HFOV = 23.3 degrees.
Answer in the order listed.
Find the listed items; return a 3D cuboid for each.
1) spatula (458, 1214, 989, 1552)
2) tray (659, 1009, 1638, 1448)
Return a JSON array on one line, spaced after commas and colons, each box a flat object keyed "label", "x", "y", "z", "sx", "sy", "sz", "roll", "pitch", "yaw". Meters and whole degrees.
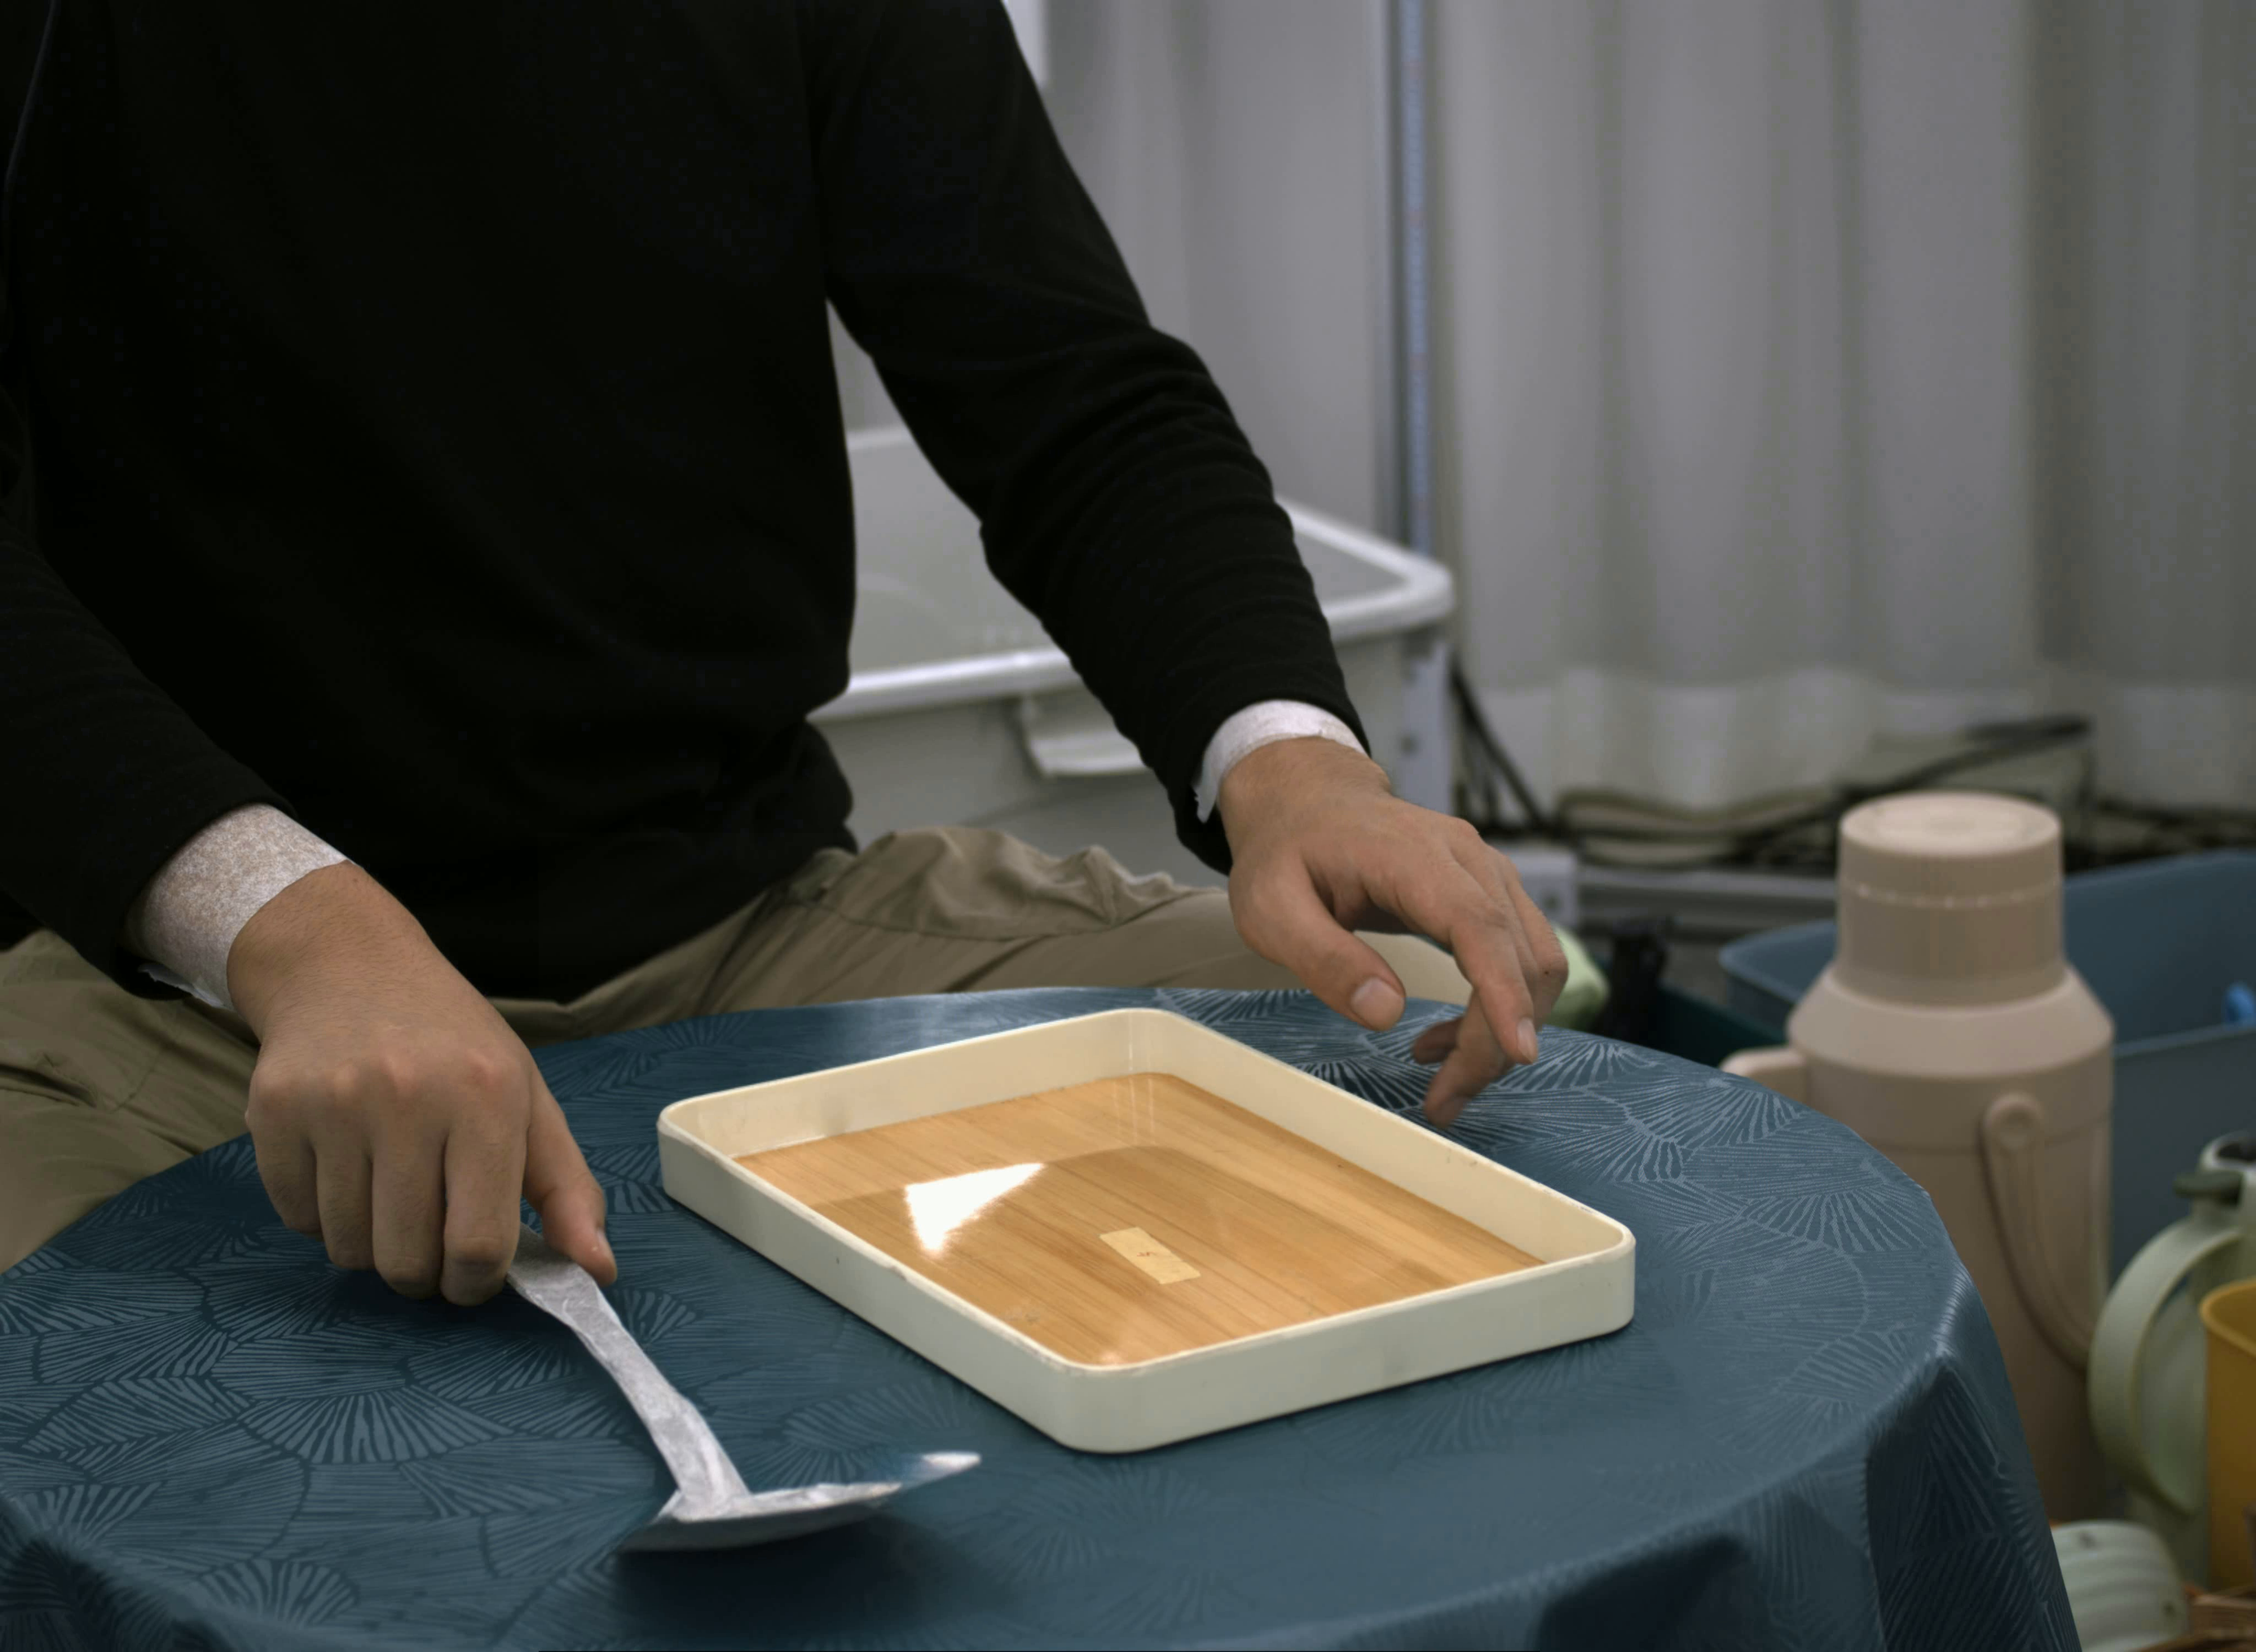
[{"label": "spatula", "x": -0.139, "y": 0.147, "z": 1.543, "sx": 0.098, "sy": 0.044, "sz": 0.368, "roll": -8, "pitch": 16, "yaw": -20}, {"label": "tray", "x": 0.000, "y": 0.117, "z": 1.654, "sx": 0.191, "sy": 0.027, "sz": 0.302, "roll": -11, "pitch": 17, "yaw": -27}]
